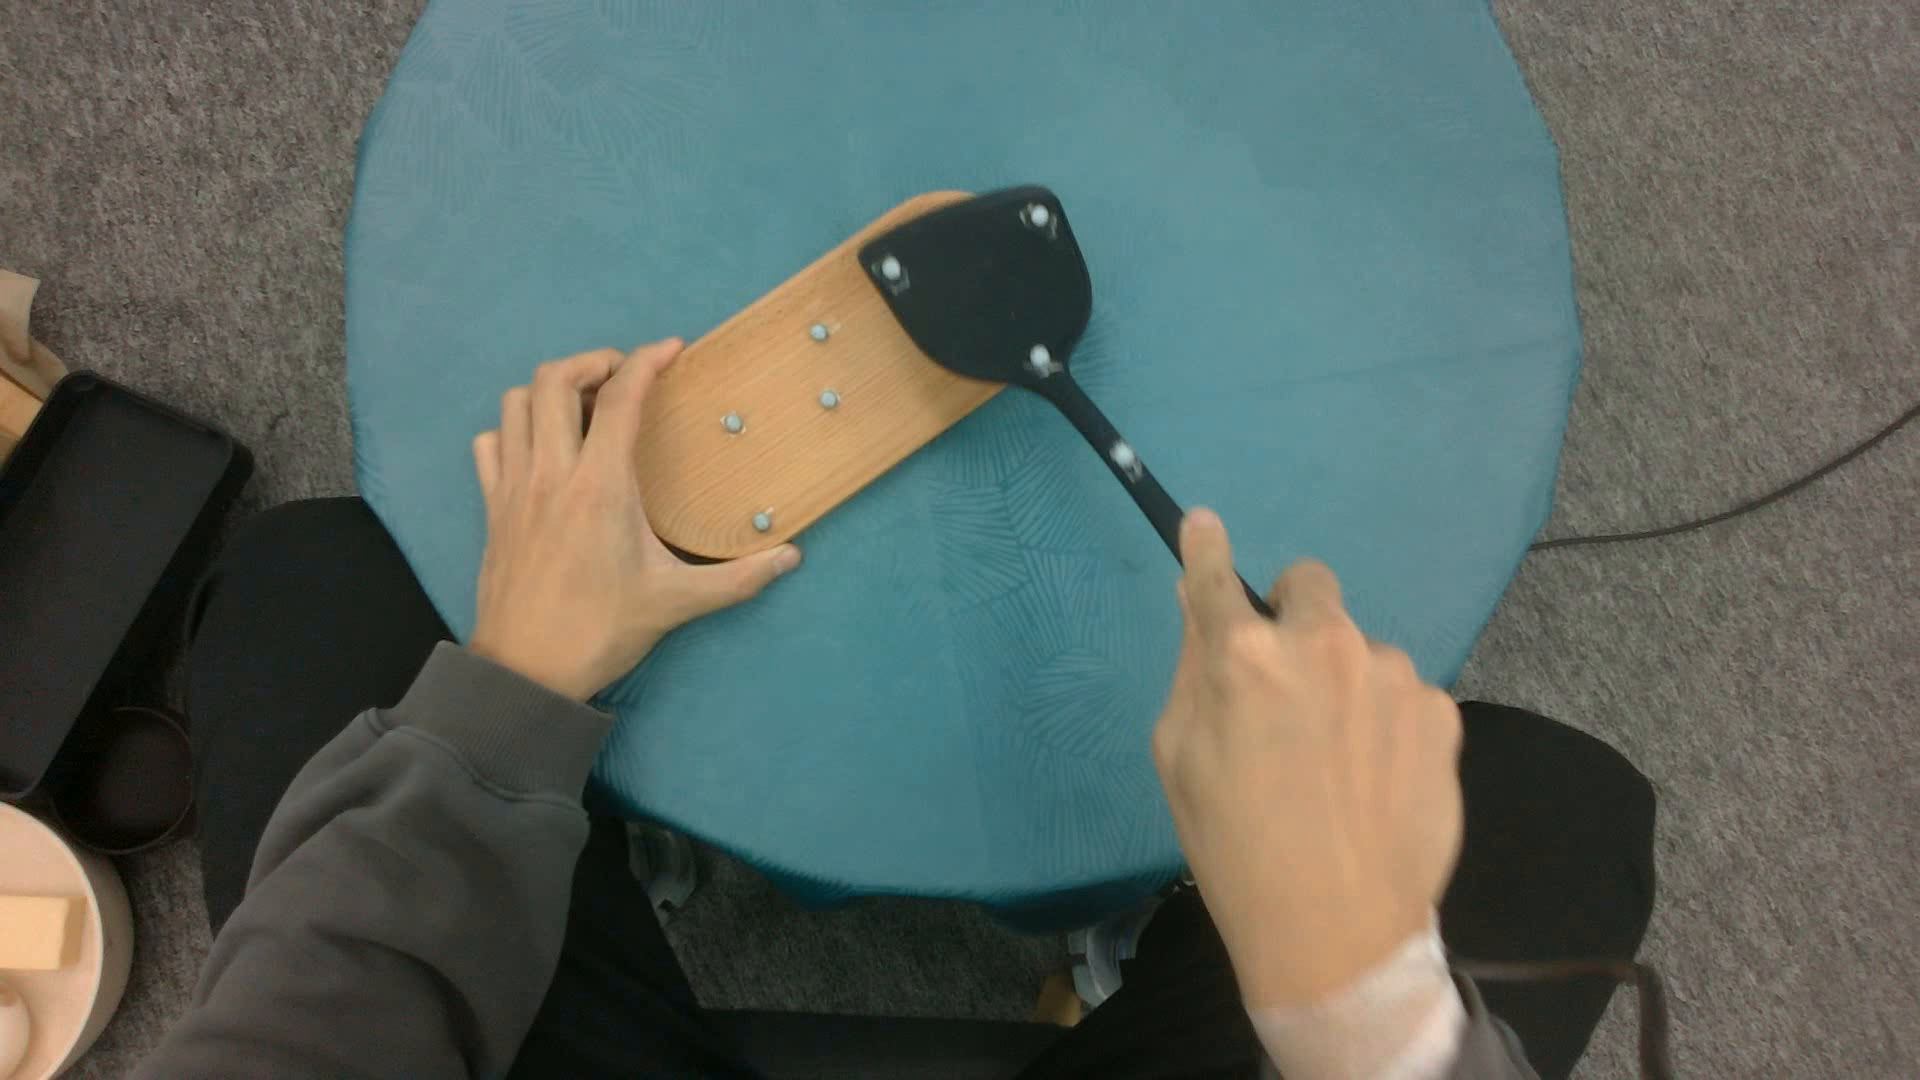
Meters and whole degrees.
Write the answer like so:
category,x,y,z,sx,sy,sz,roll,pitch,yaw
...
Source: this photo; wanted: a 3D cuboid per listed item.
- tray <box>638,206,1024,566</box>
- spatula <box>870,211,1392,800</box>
category,x,y,z,sx,sy,sz,roll,pitch,yaw
tray,-0.049,-0.075,0.667,0.231,0.020,0.102,-36,85,-9
spatula,0.068,-0.028,0.546,0.100,0.040,0.327,-23,48,-12
